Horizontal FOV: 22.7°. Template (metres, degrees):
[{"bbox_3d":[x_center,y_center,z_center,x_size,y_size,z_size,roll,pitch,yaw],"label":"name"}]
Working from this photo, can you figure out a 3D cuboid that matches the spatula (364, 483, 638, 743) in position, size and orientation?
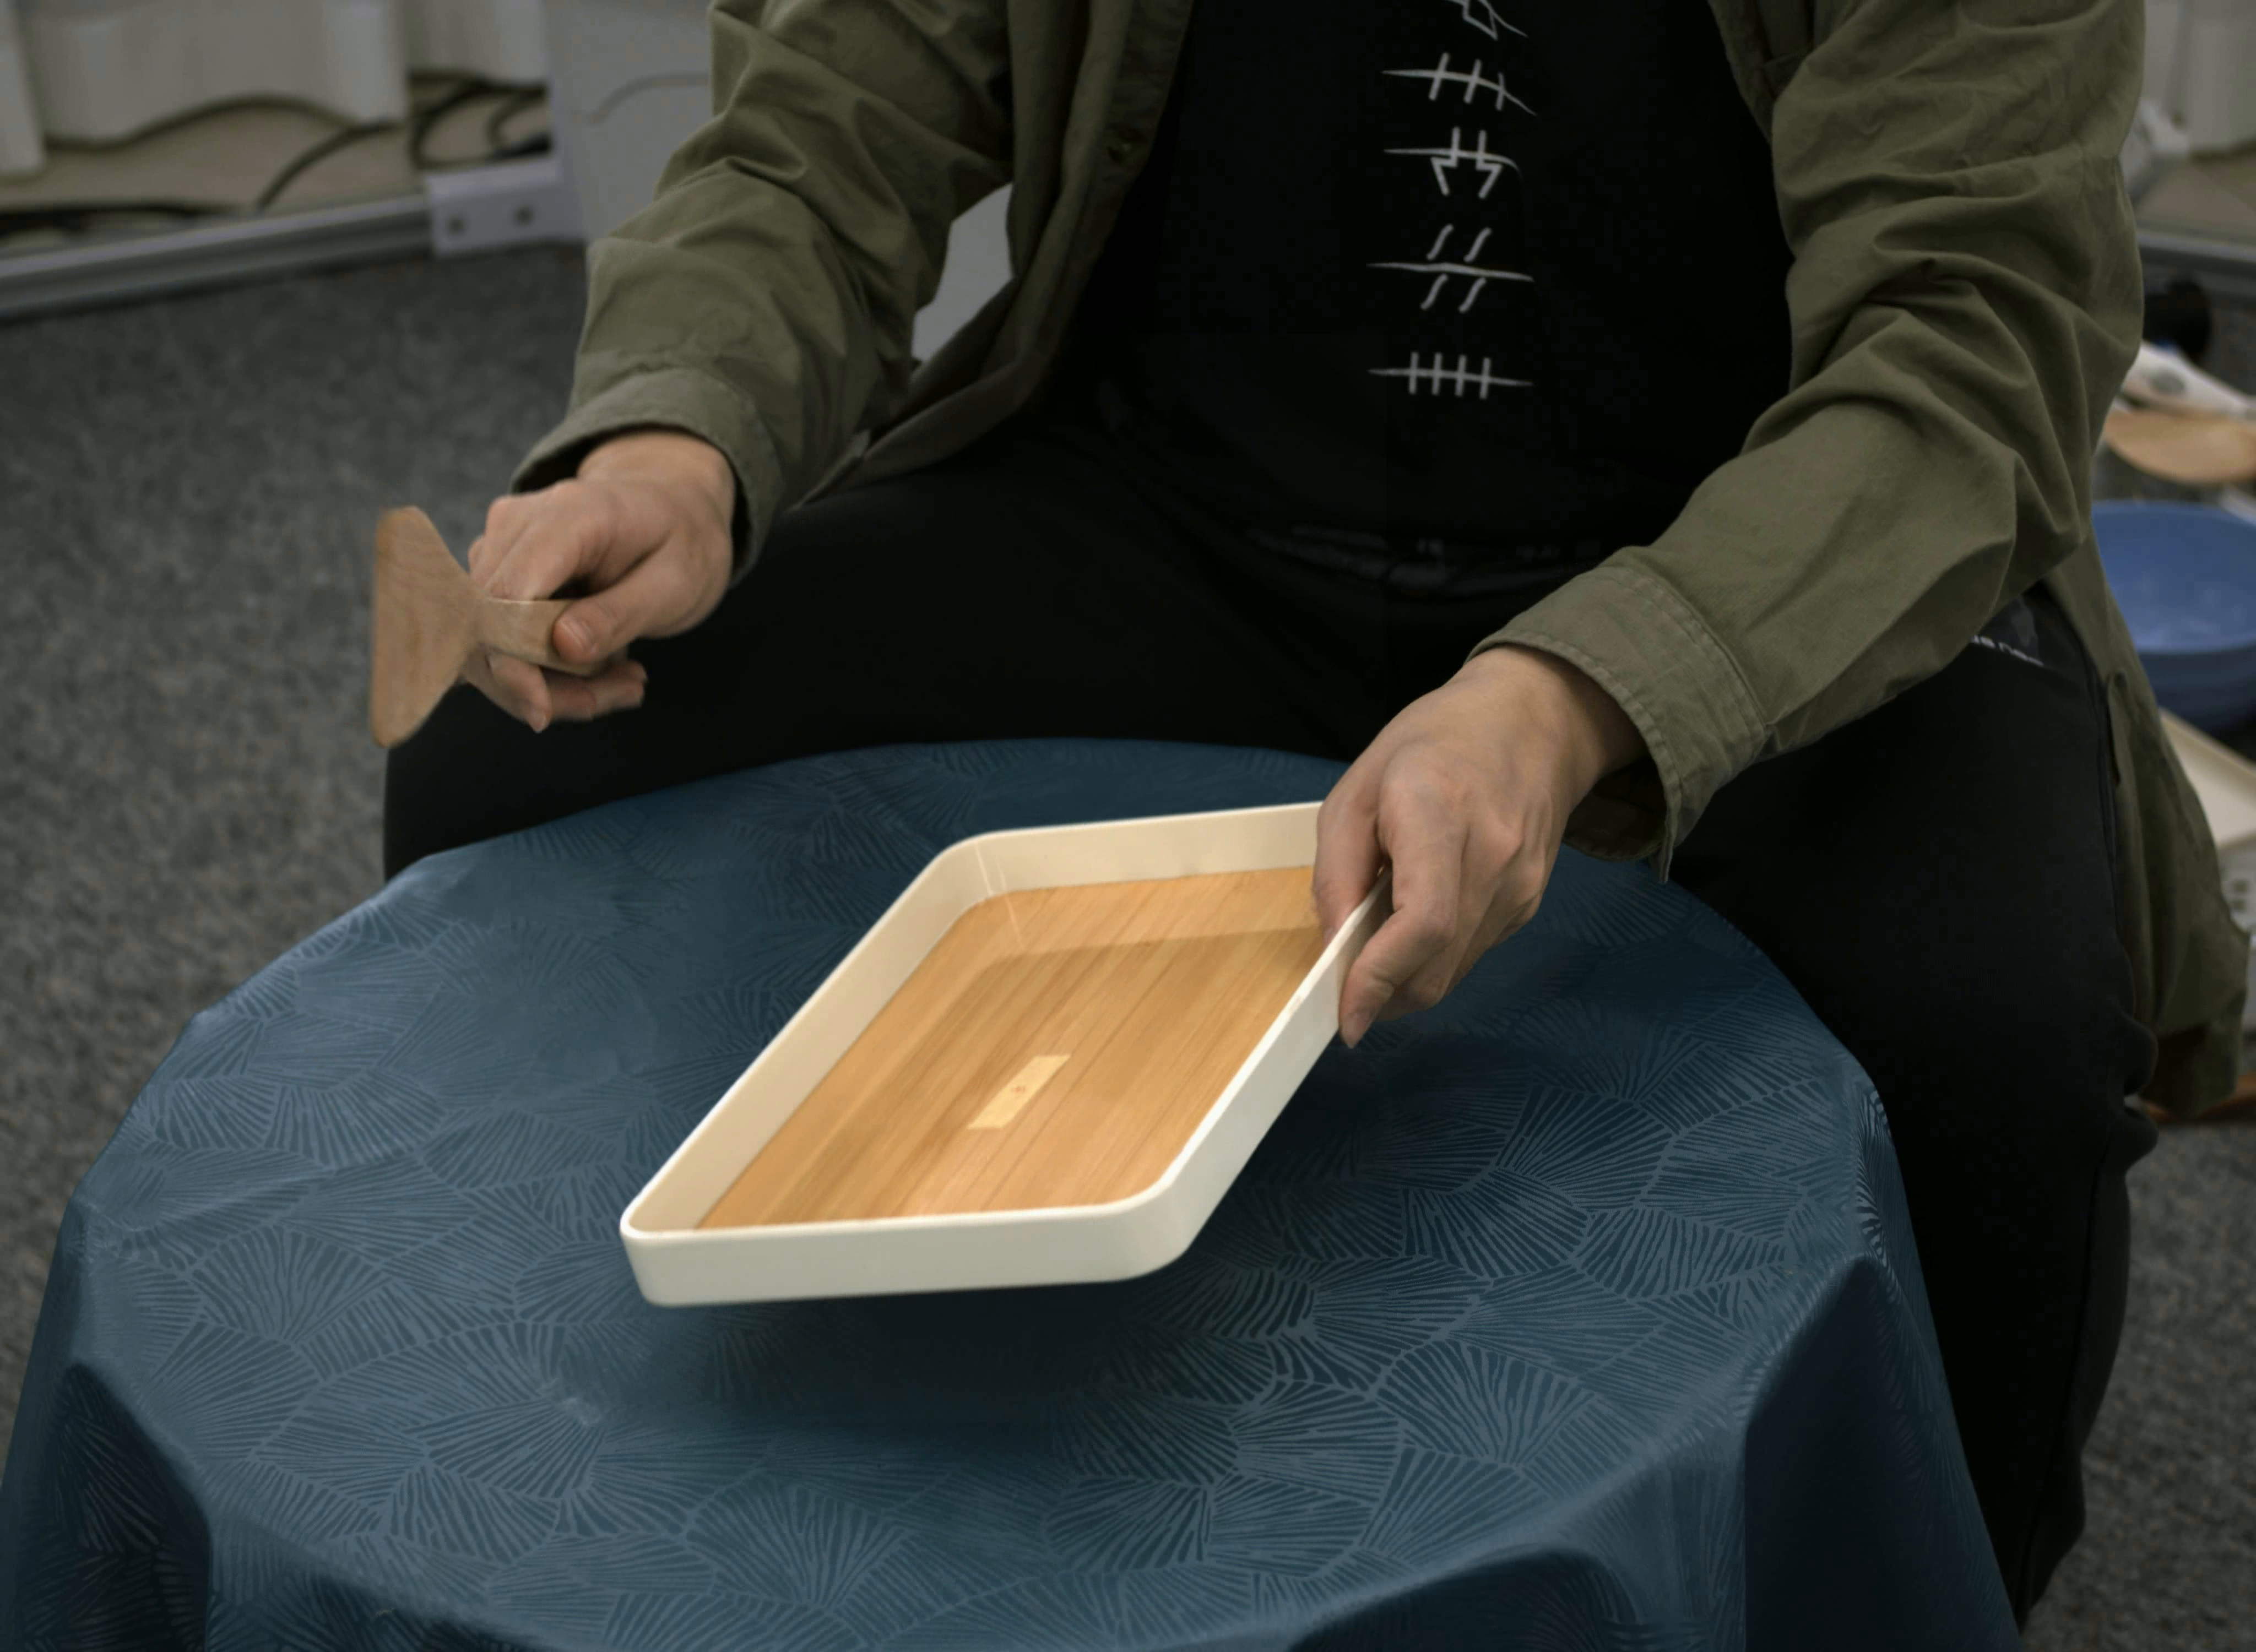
[{"bbox_3d":[-0.206,-0.065,1.869,0.016,0.080,0.328,3,0,11],"label":"spatula"}]

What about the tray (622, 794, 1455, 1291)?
[{"bbox_3d":[-0.023,0.067,1.831,0.189,0.027,0.305,-5,21,24],"label":"tray"}]
